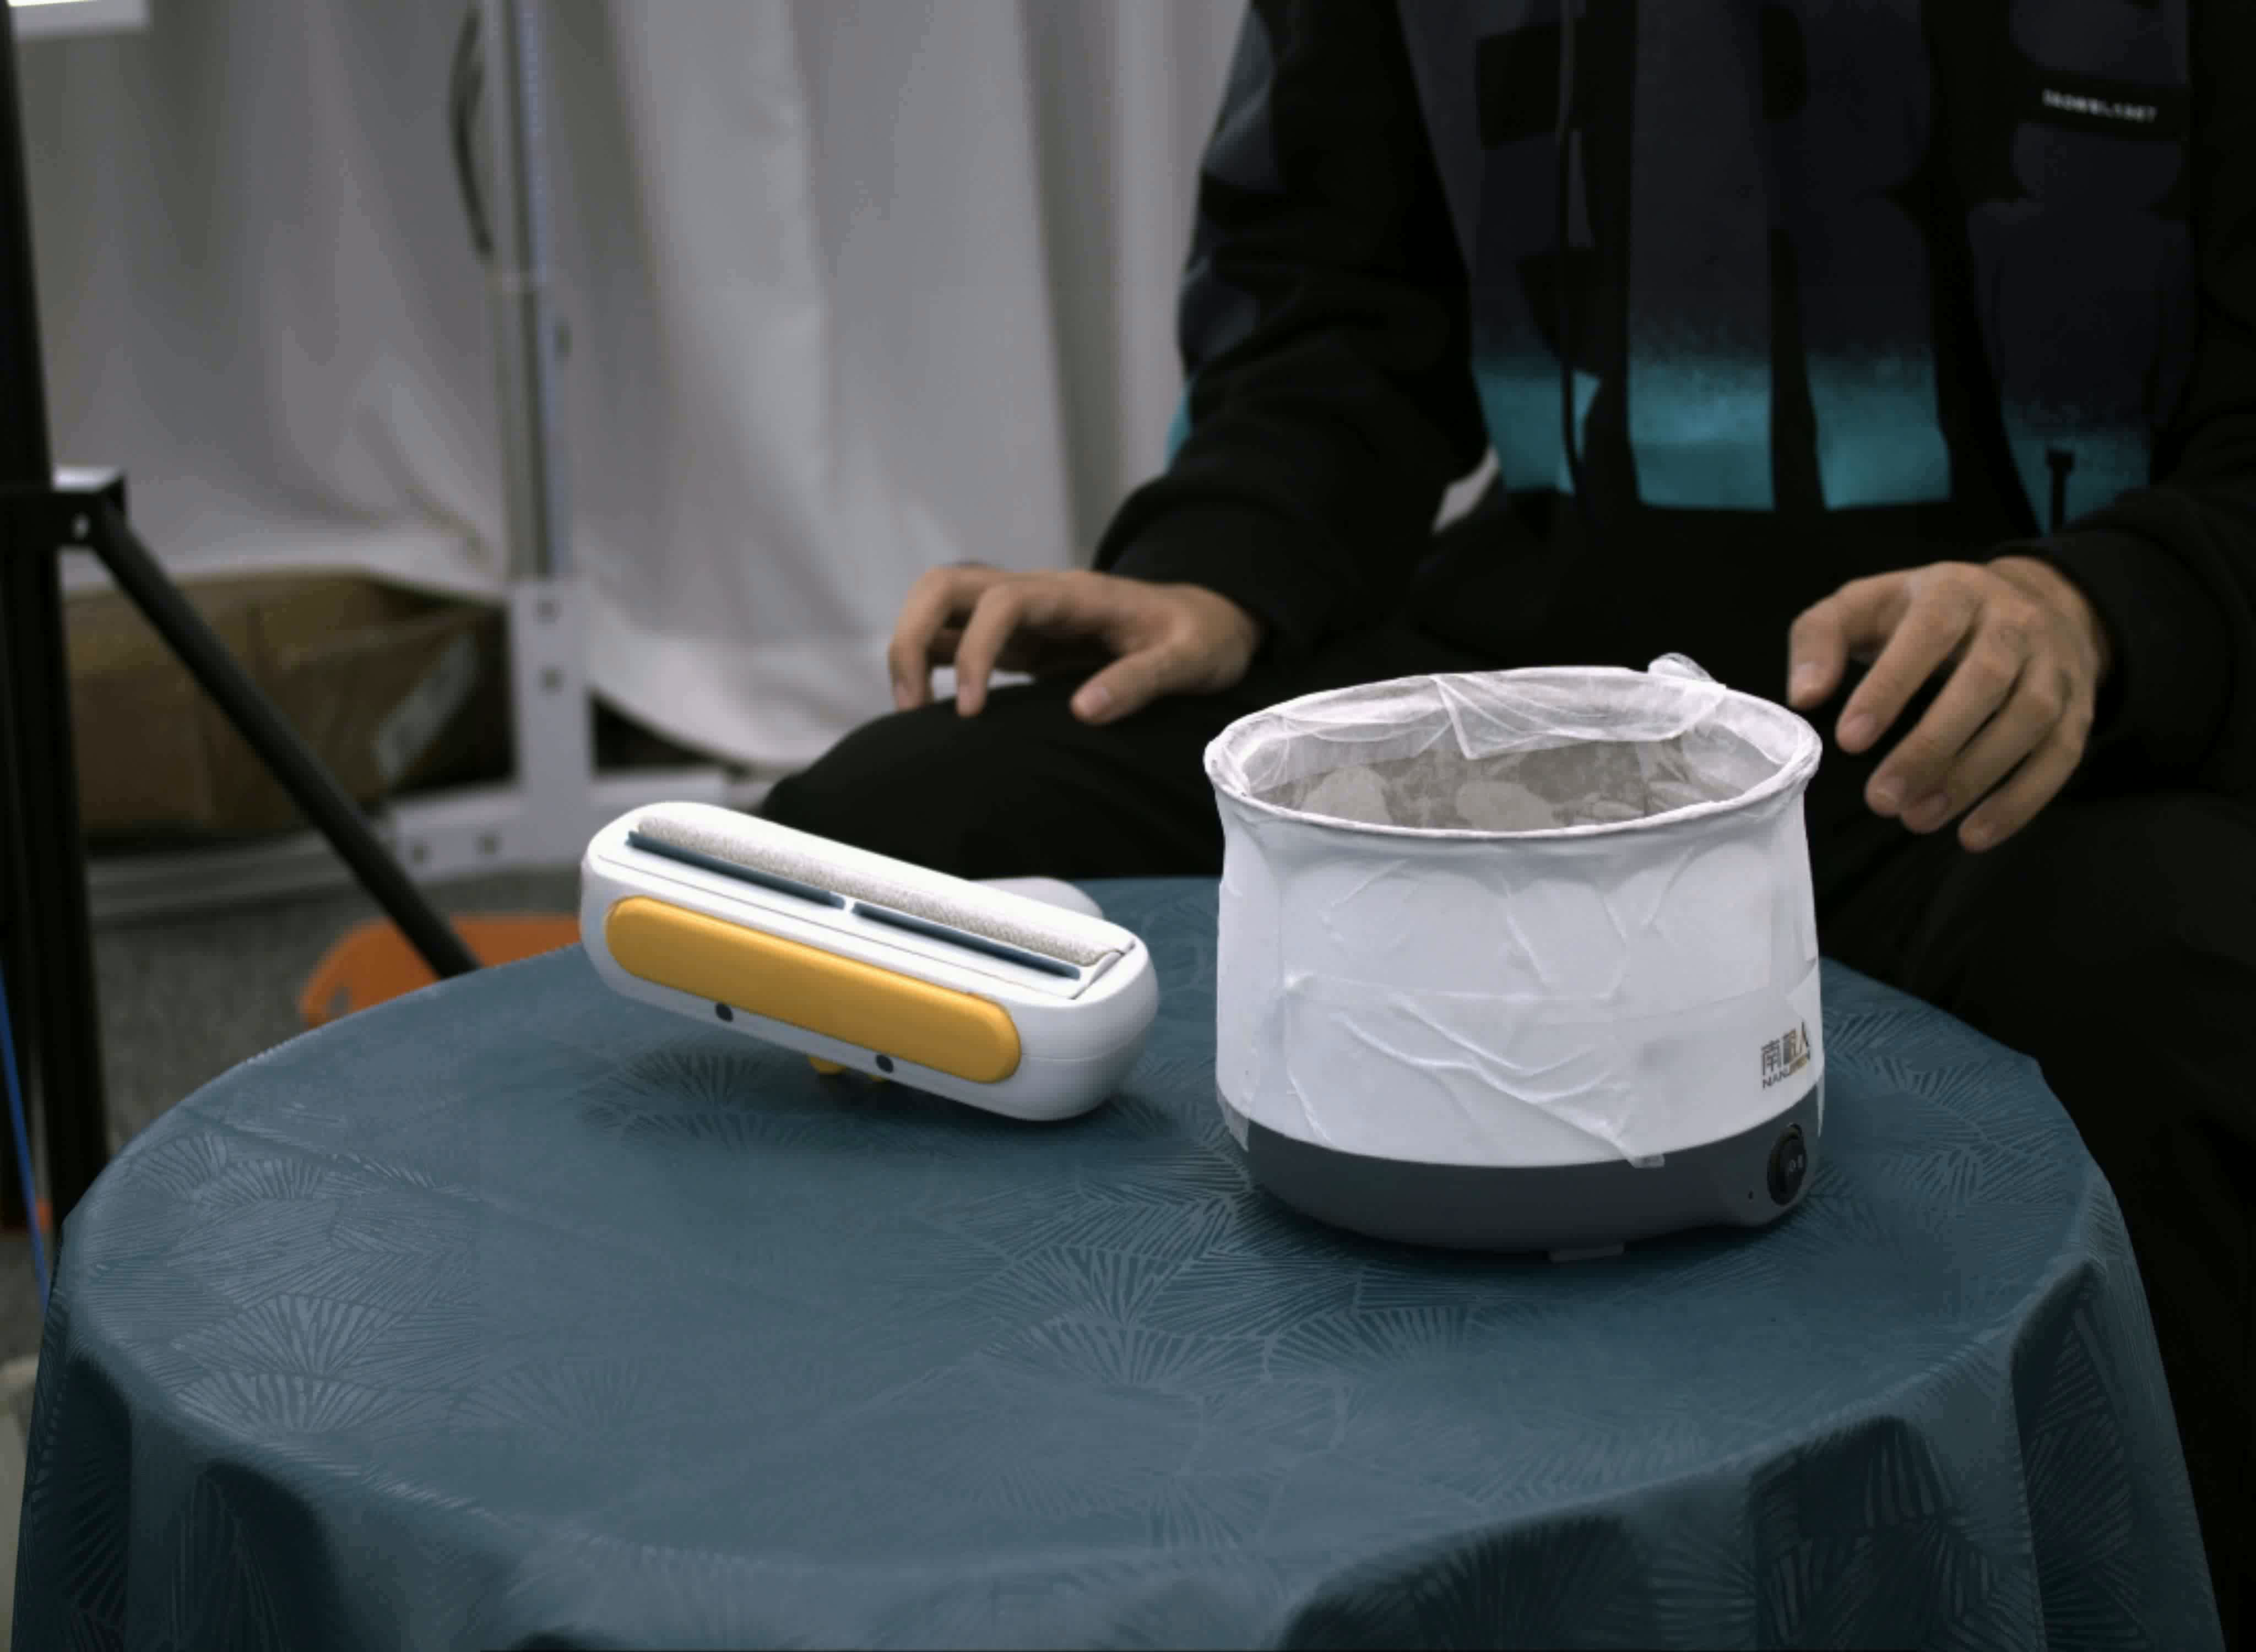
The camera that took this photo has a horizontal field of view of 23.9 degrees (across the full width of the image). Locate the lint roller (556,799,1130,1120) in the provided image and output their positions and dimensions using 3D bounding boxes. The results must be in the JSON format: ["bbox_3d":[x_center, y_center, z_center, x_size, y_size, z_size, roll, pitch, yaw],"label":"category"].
[{"bbox_3d":[-0.061,0.033,1.708,0.196,0.074,0.189,12,20,29],"label":"lint roller"}]

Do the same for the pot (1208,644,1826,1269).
[{"bbox_3d":[0.127,0.031,1.552,0.182,0.136,0.229,9,21,32],"label":"pot"}]
